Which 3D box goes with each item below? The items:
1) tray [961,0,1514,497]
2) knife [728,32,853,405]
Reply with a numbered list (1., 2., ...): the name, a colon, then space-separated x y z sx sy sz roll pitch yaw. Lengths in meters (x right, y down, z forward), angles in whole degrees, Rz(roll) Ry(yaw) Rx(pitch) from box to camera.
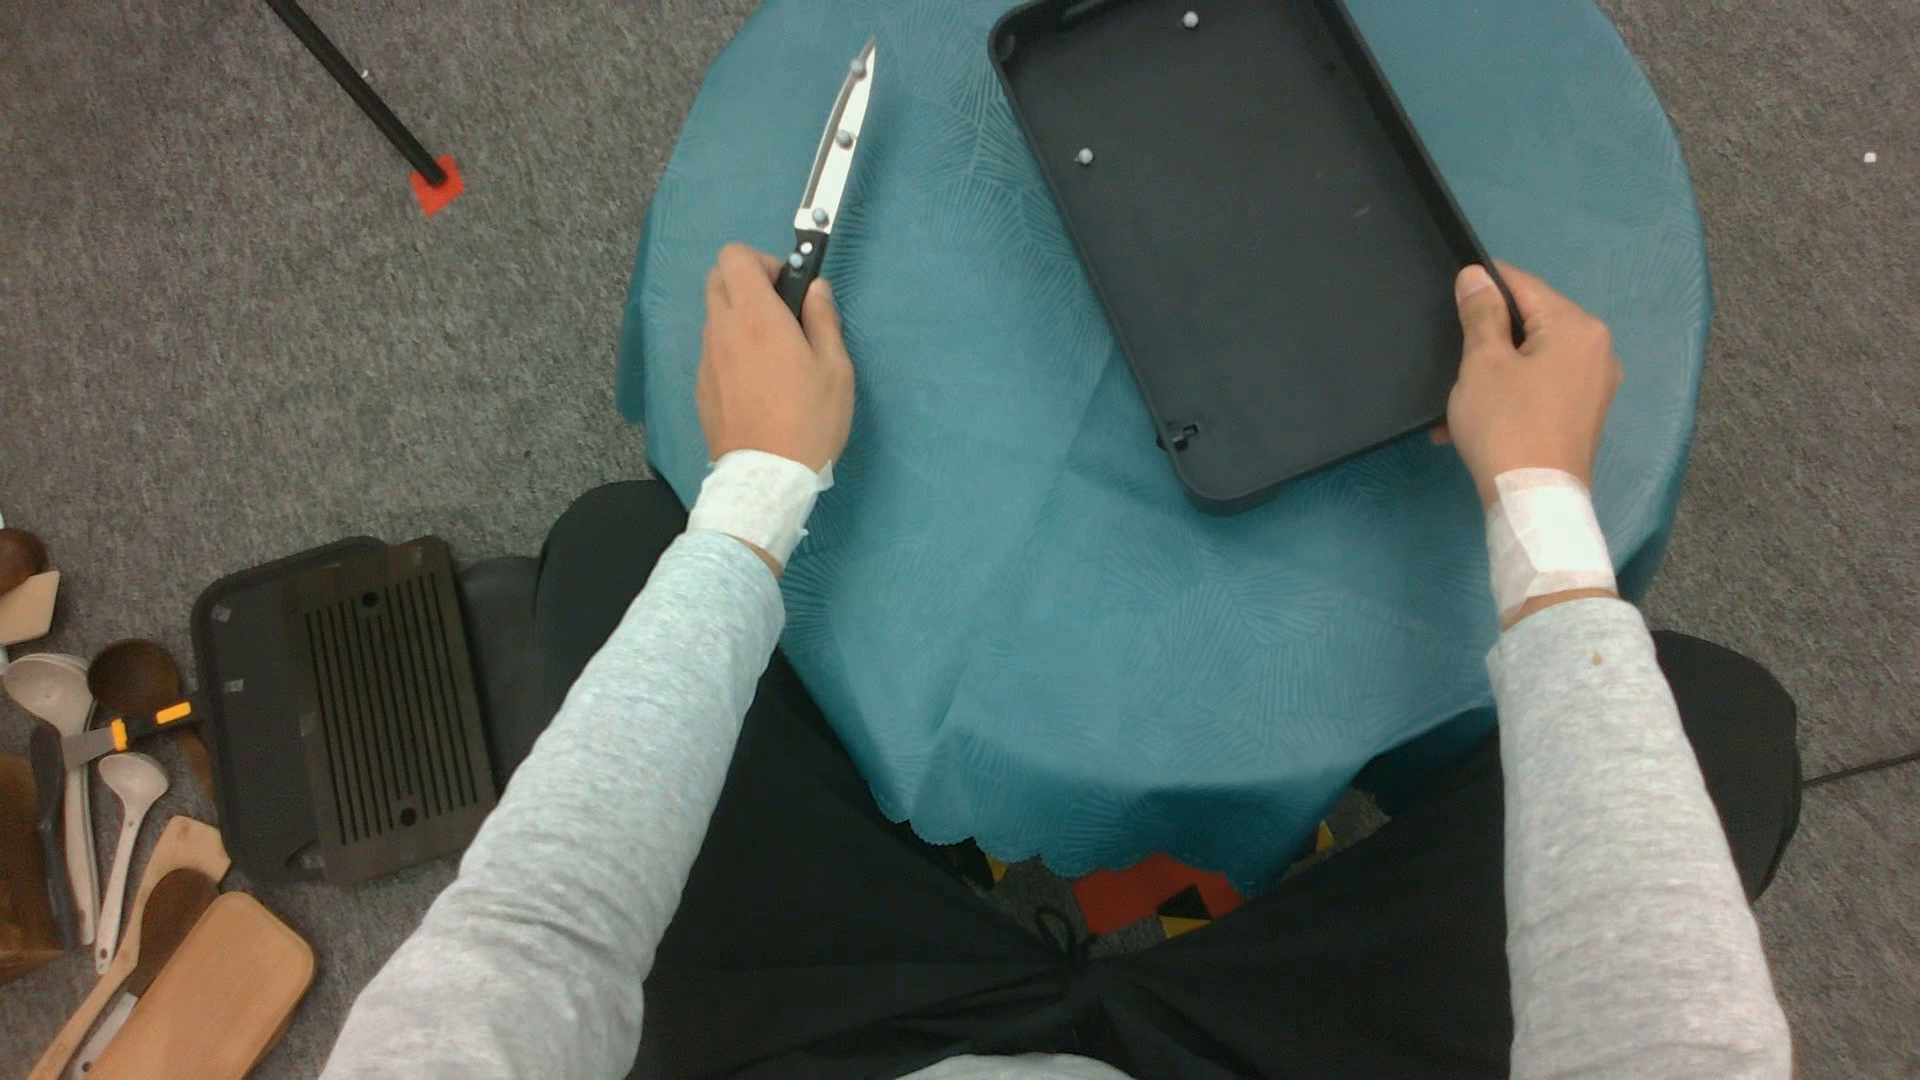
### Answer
1. tray: 0.139 -0.191 0.741 0.184 0.037 0.318 -24 71 2
2. knife: -0.090 -0.186 0.779 0.024 0.016 0.239 11 75 11
